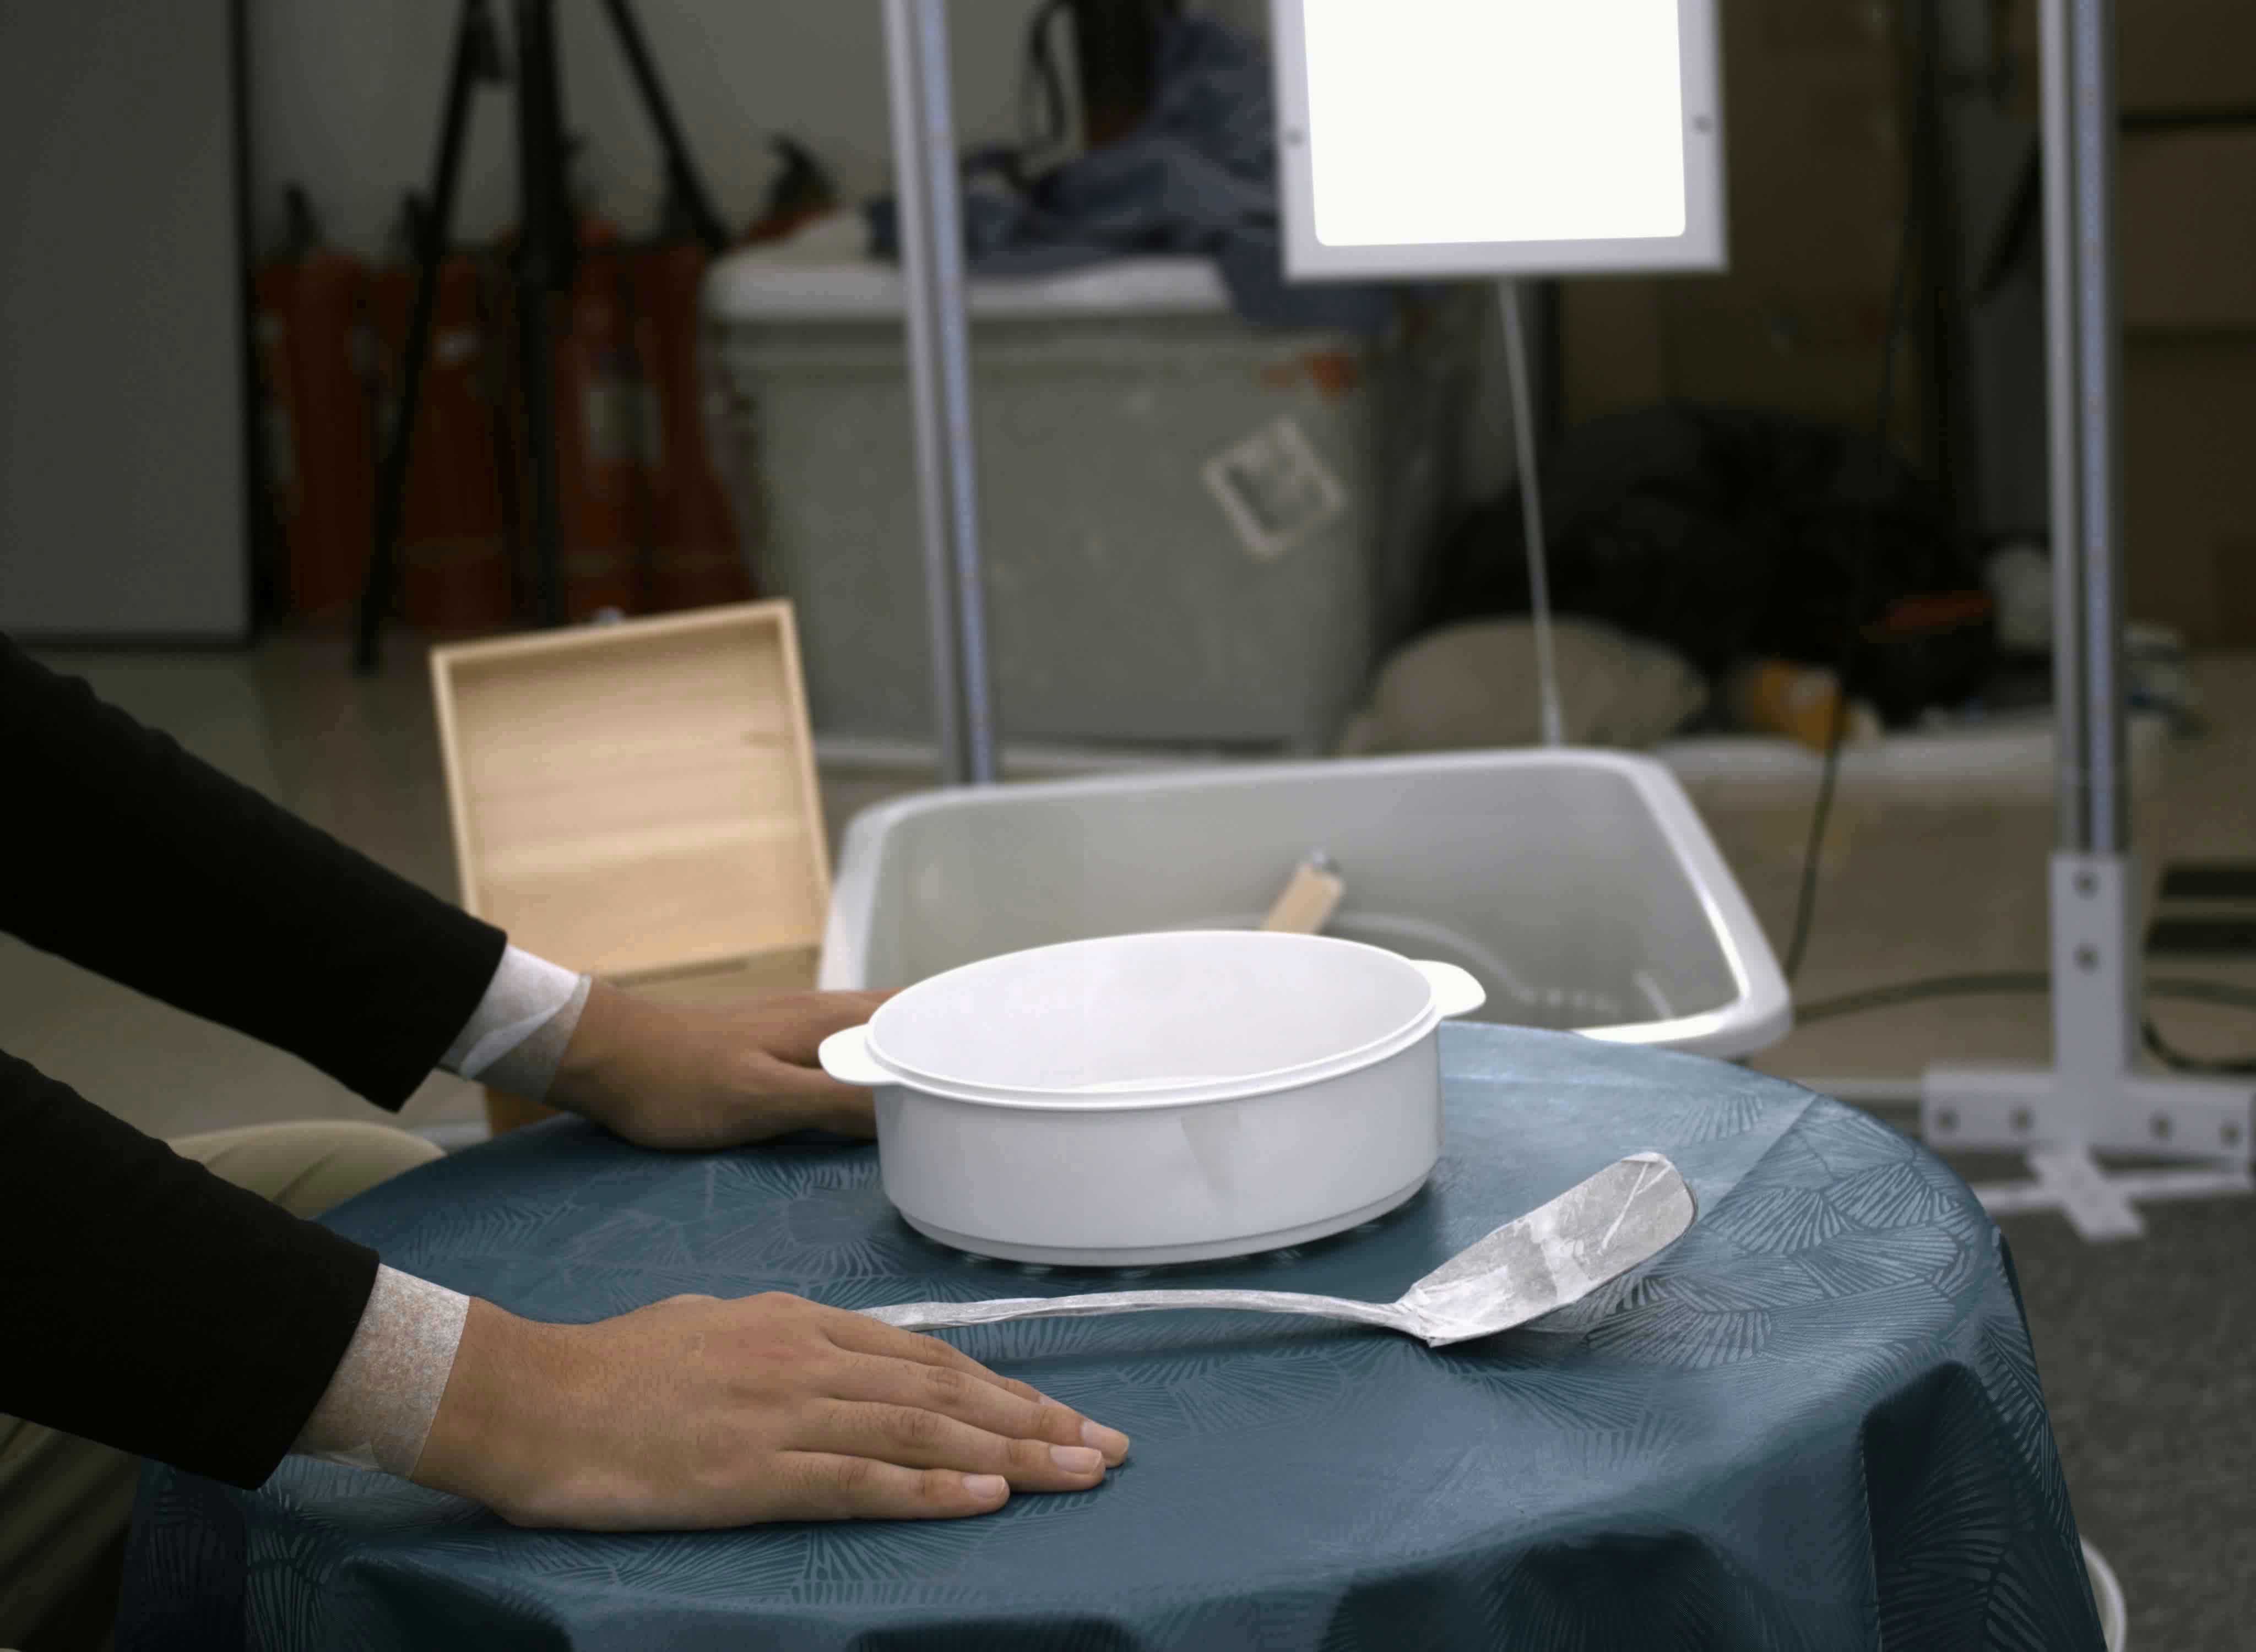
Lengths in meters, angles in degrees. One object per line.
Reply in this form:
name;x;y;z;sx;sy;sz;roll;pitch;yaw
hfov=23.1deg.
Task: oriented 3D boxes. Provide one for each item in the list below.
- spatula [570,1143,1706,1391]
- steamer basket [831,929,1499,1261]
spatula;0.002;0.146;1.738;0.364;0.045;0.098;-4;16;2
steamer basket;0.015;0.092;1.886;0.229;0.069;0.202;-8;13;-6
